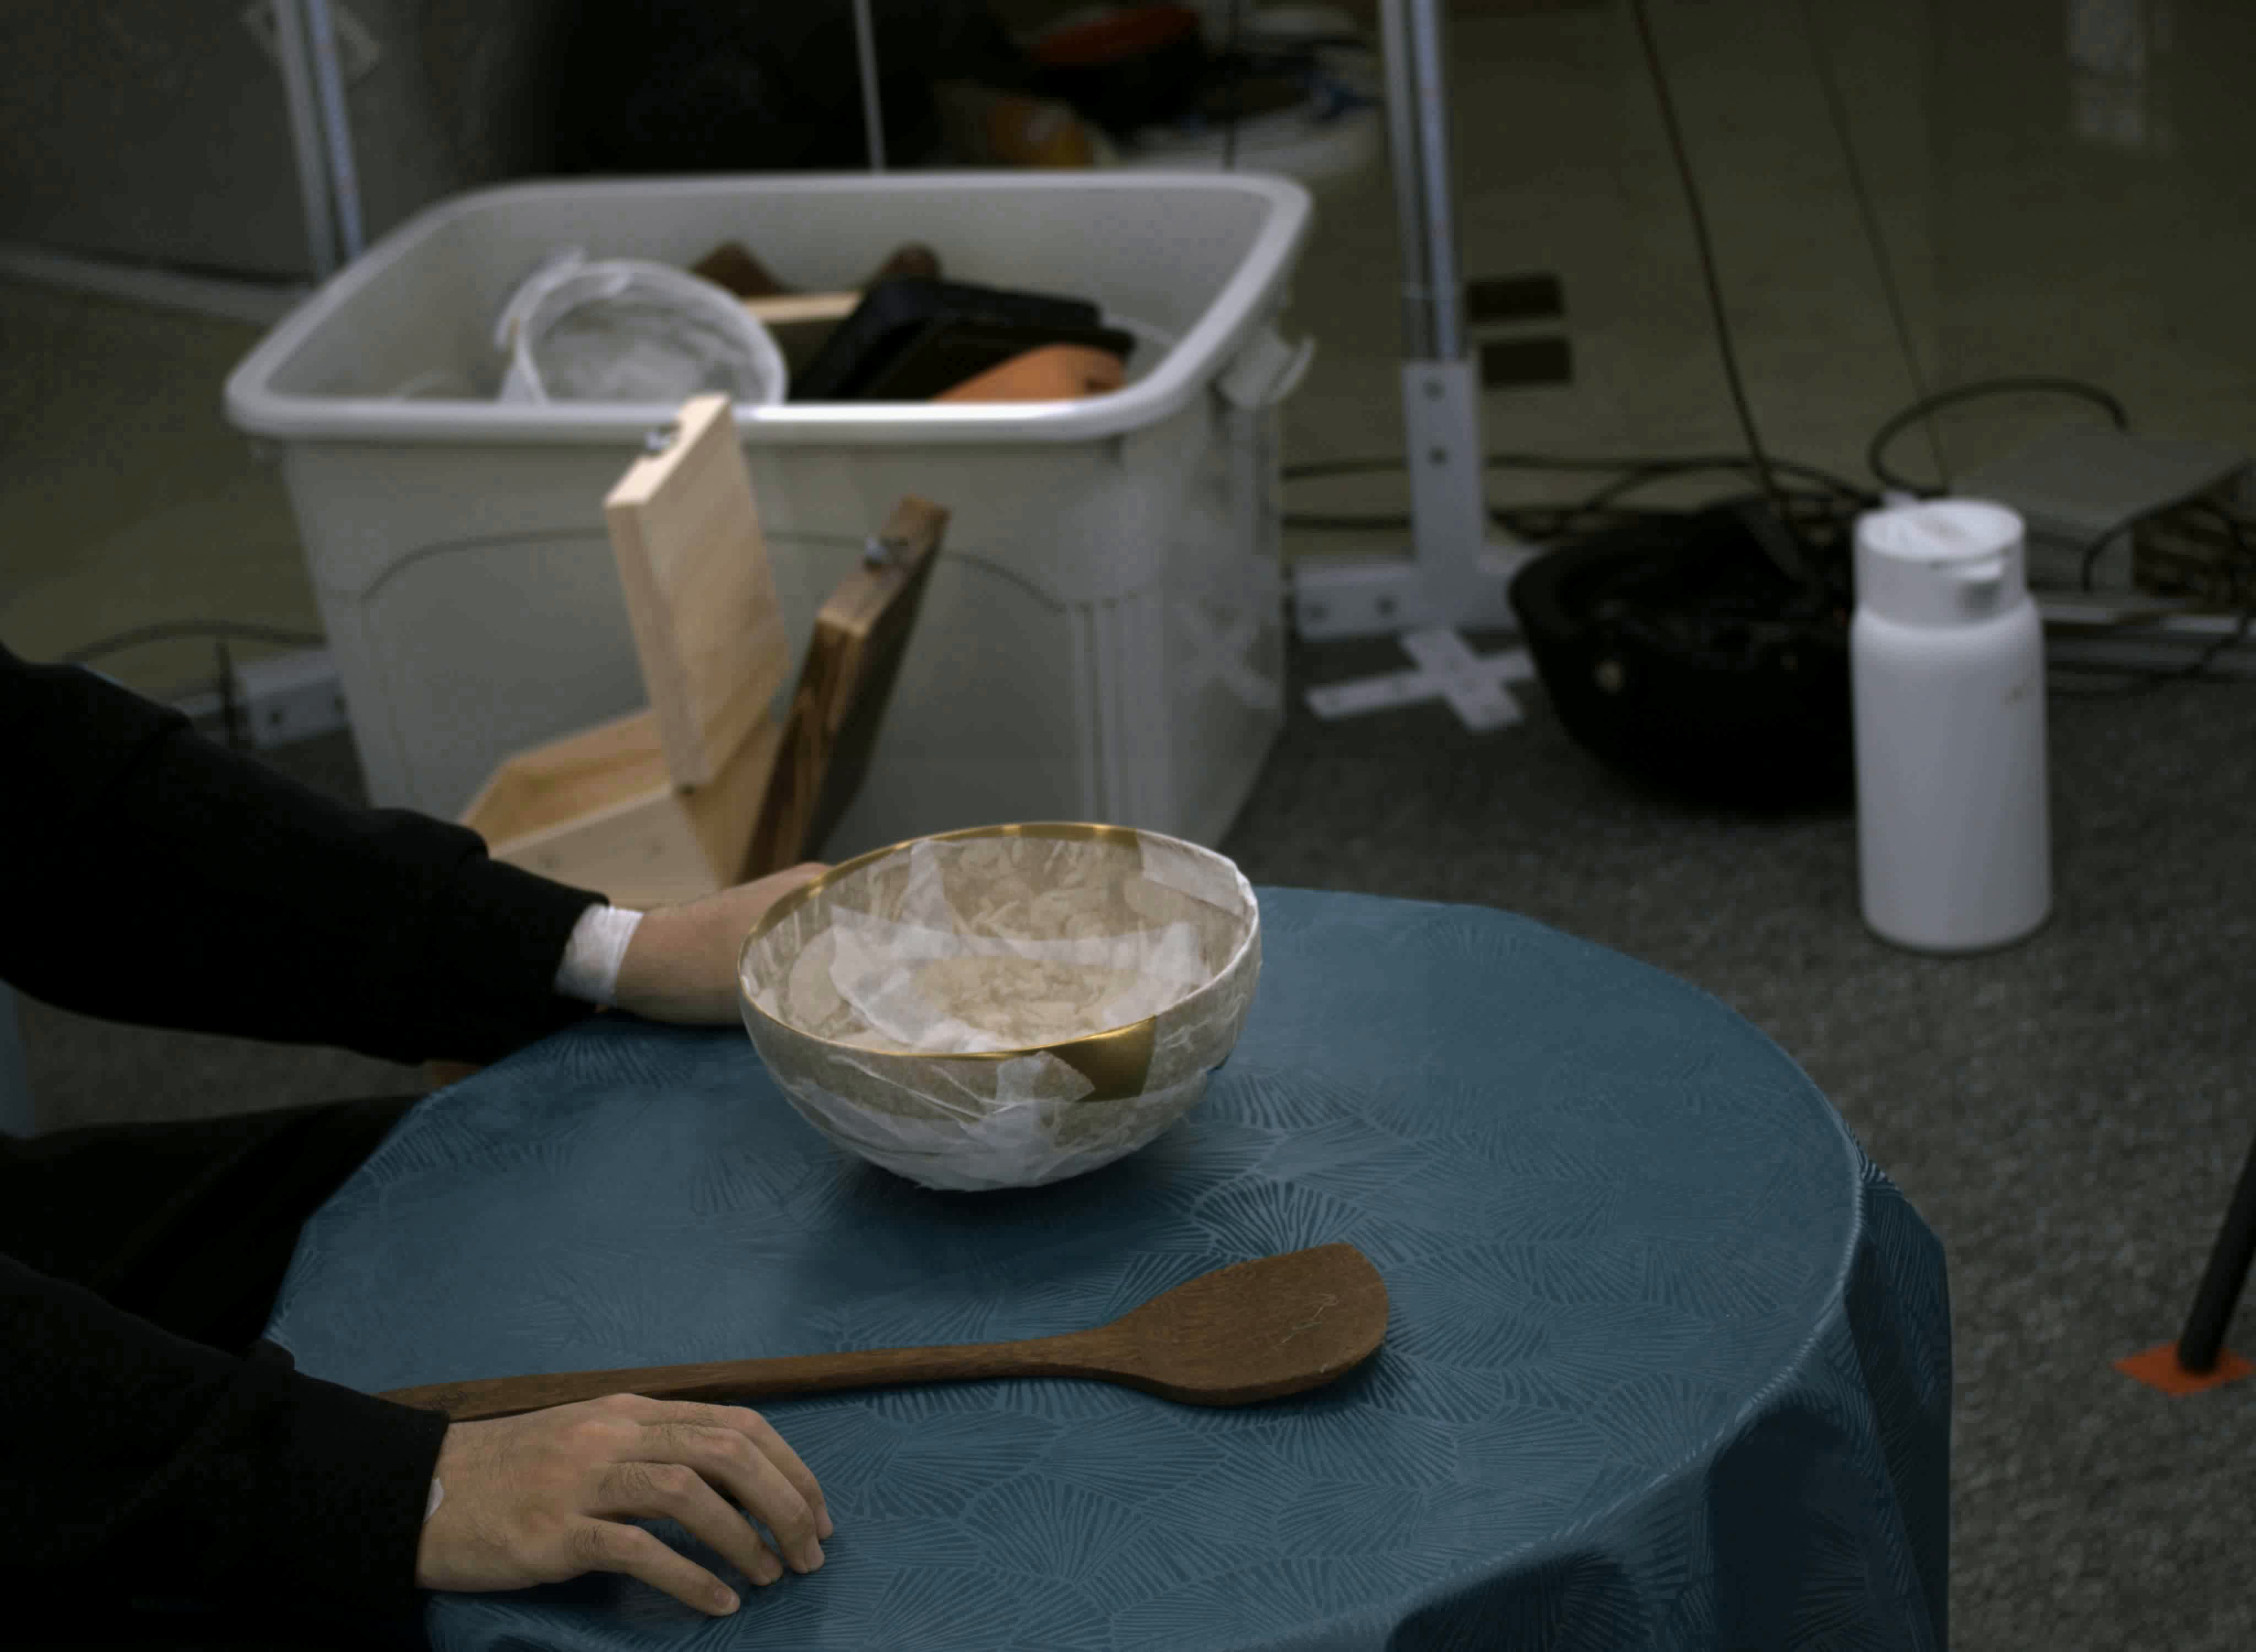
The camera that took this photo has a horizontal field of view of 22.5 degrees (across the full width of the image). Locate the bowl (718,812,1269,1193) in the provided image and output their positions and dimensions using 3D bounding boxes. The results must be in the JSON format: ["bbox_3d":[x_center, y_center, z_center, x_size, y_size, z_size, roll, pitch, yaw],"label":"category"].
[{"bbox_3d":[-0.047,0.081,2.179,0.214,0.096,0.211,-6,26,3],"label":"bowl"}]

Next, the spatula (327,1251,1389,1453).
[{"bbox_3d":[-0.098,0.196,2.039,0.385,0.016,0.095,-6,25,2],"label":"spatula"}]
